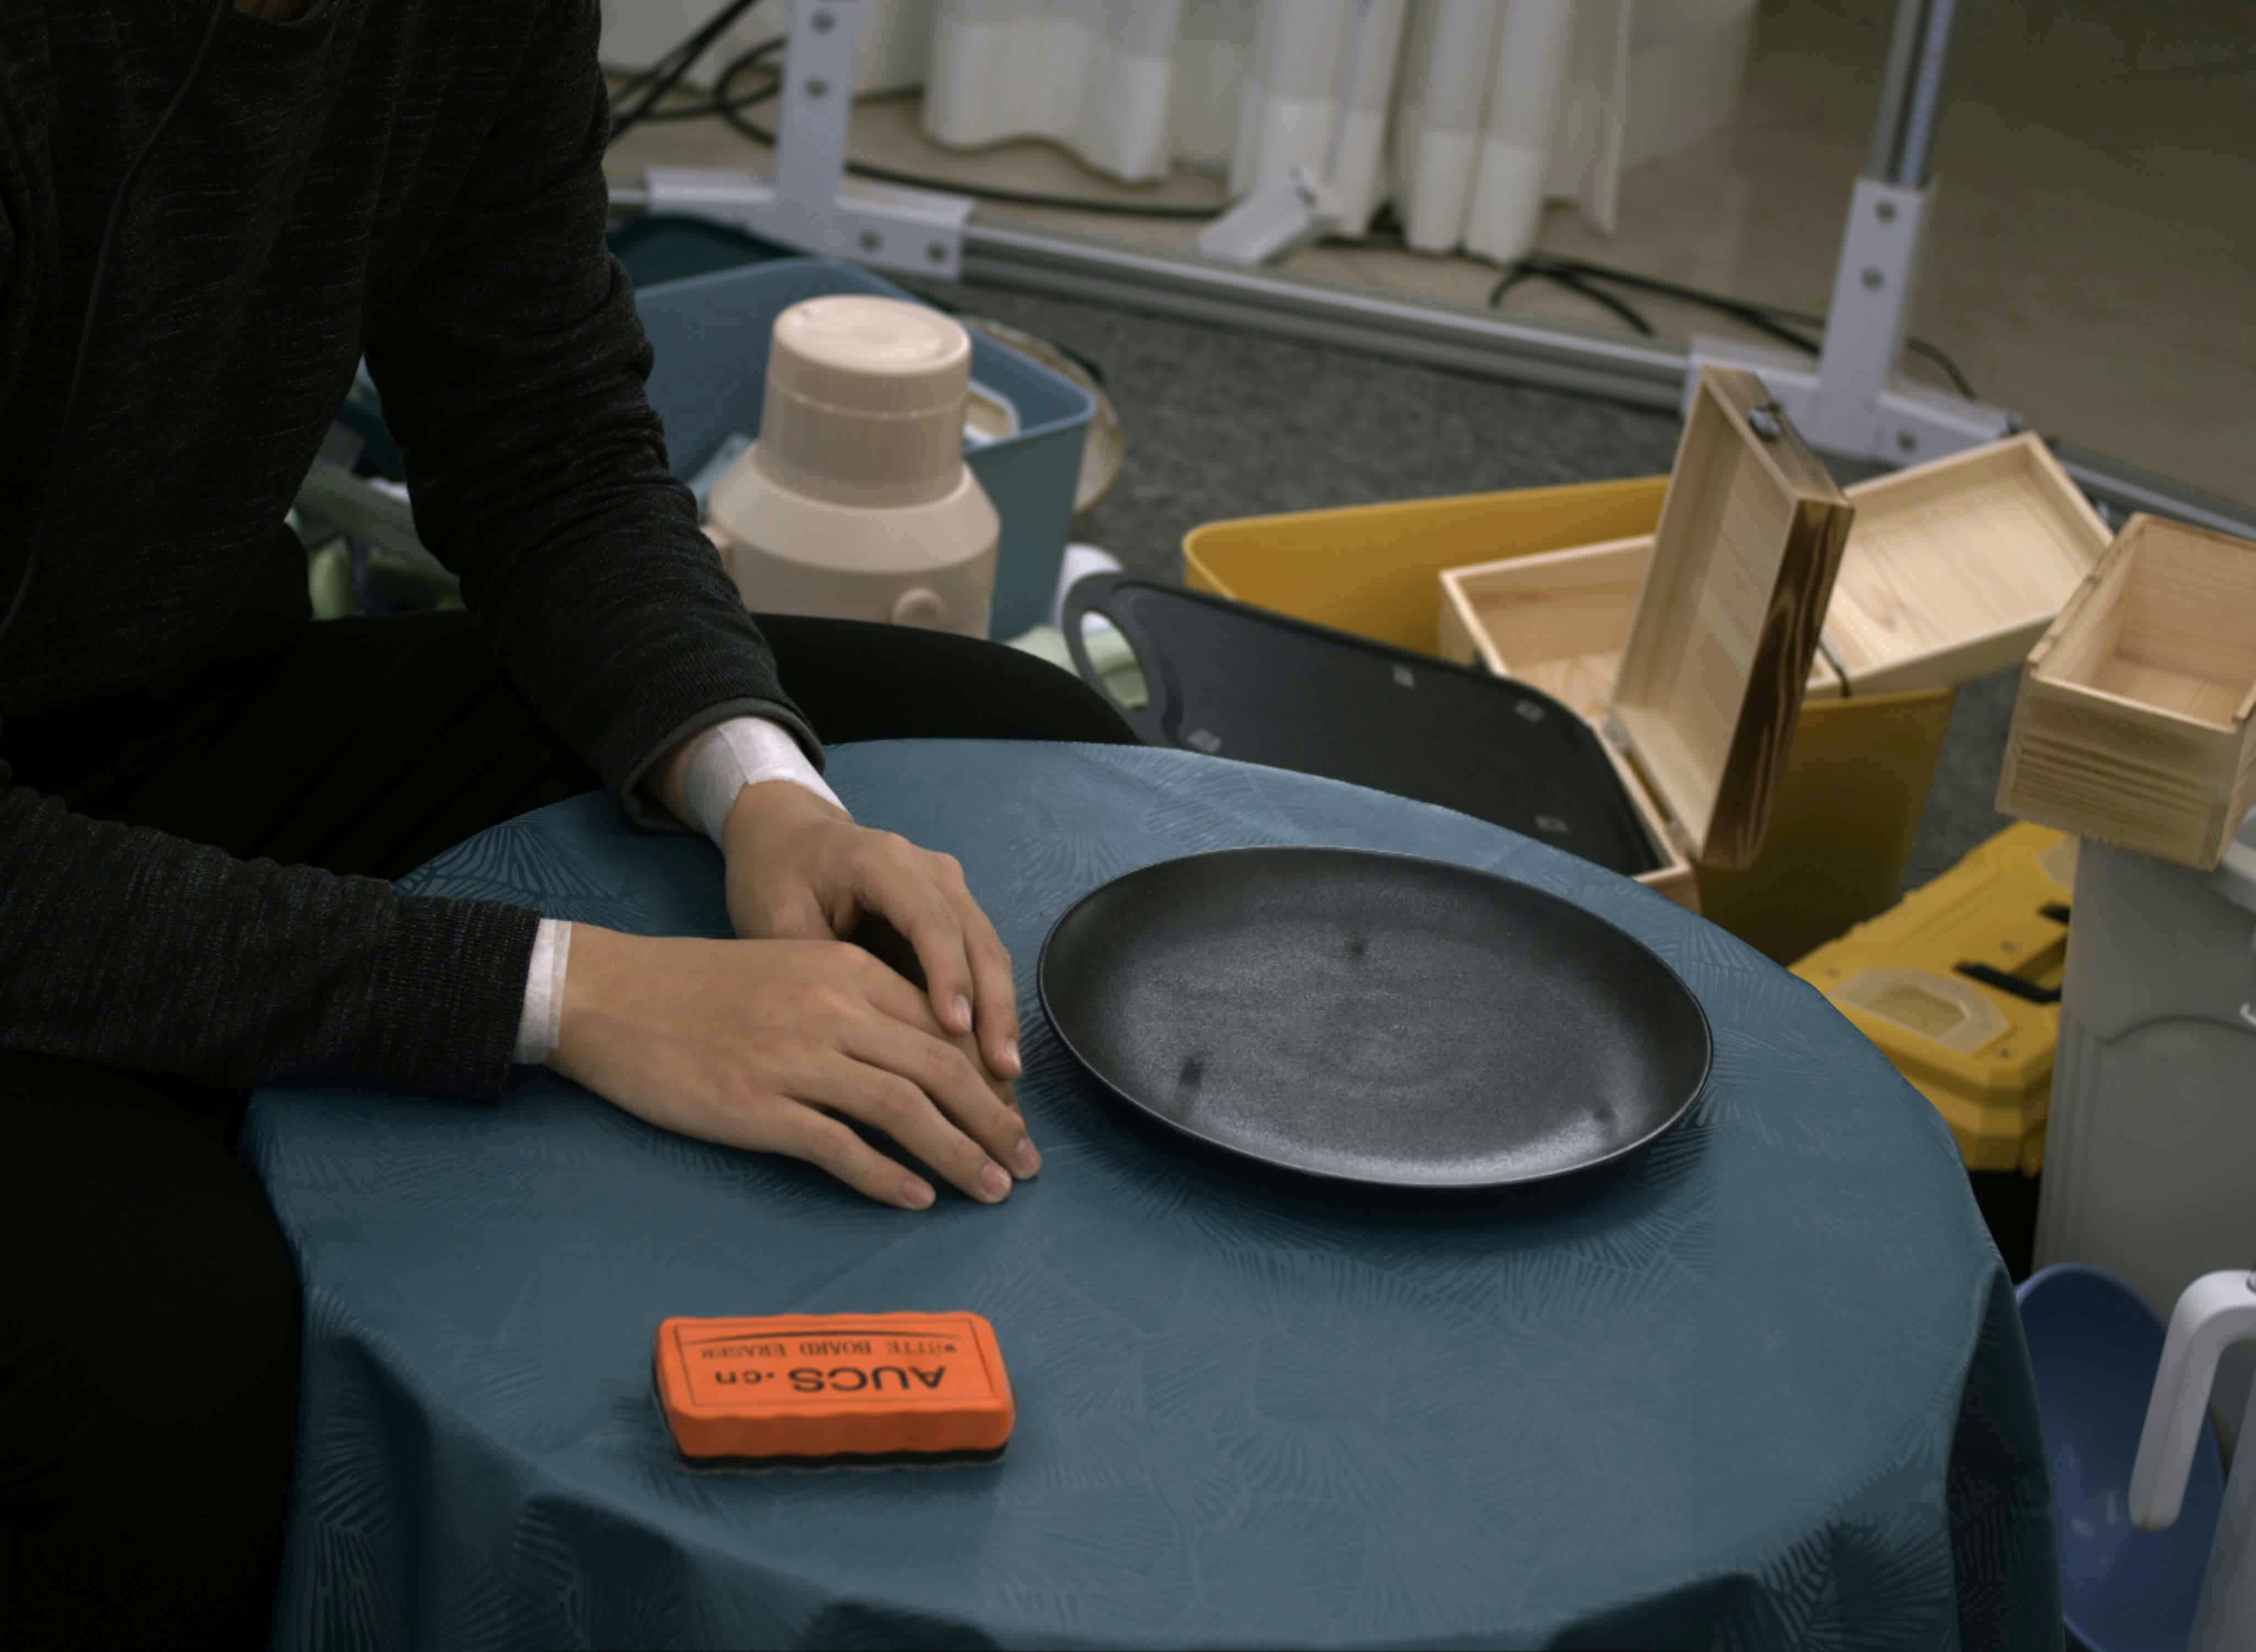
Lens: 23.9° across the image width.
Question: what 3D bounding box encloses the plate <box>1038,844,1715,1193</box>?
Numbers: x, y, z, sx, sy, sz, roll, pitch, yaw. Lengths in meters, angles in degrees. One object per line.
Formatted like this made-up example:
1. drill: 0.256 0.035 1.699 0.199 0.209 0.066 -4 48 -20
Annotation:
1. plate: 0.088 0.072 1.896 0.243 0.023 0.246 5 27 -3

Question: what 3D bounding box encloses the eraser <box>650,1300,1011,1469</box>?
1. eraser: -0.093 0.173 1.651 0.107 0.023 0.059 -2 26 -12
